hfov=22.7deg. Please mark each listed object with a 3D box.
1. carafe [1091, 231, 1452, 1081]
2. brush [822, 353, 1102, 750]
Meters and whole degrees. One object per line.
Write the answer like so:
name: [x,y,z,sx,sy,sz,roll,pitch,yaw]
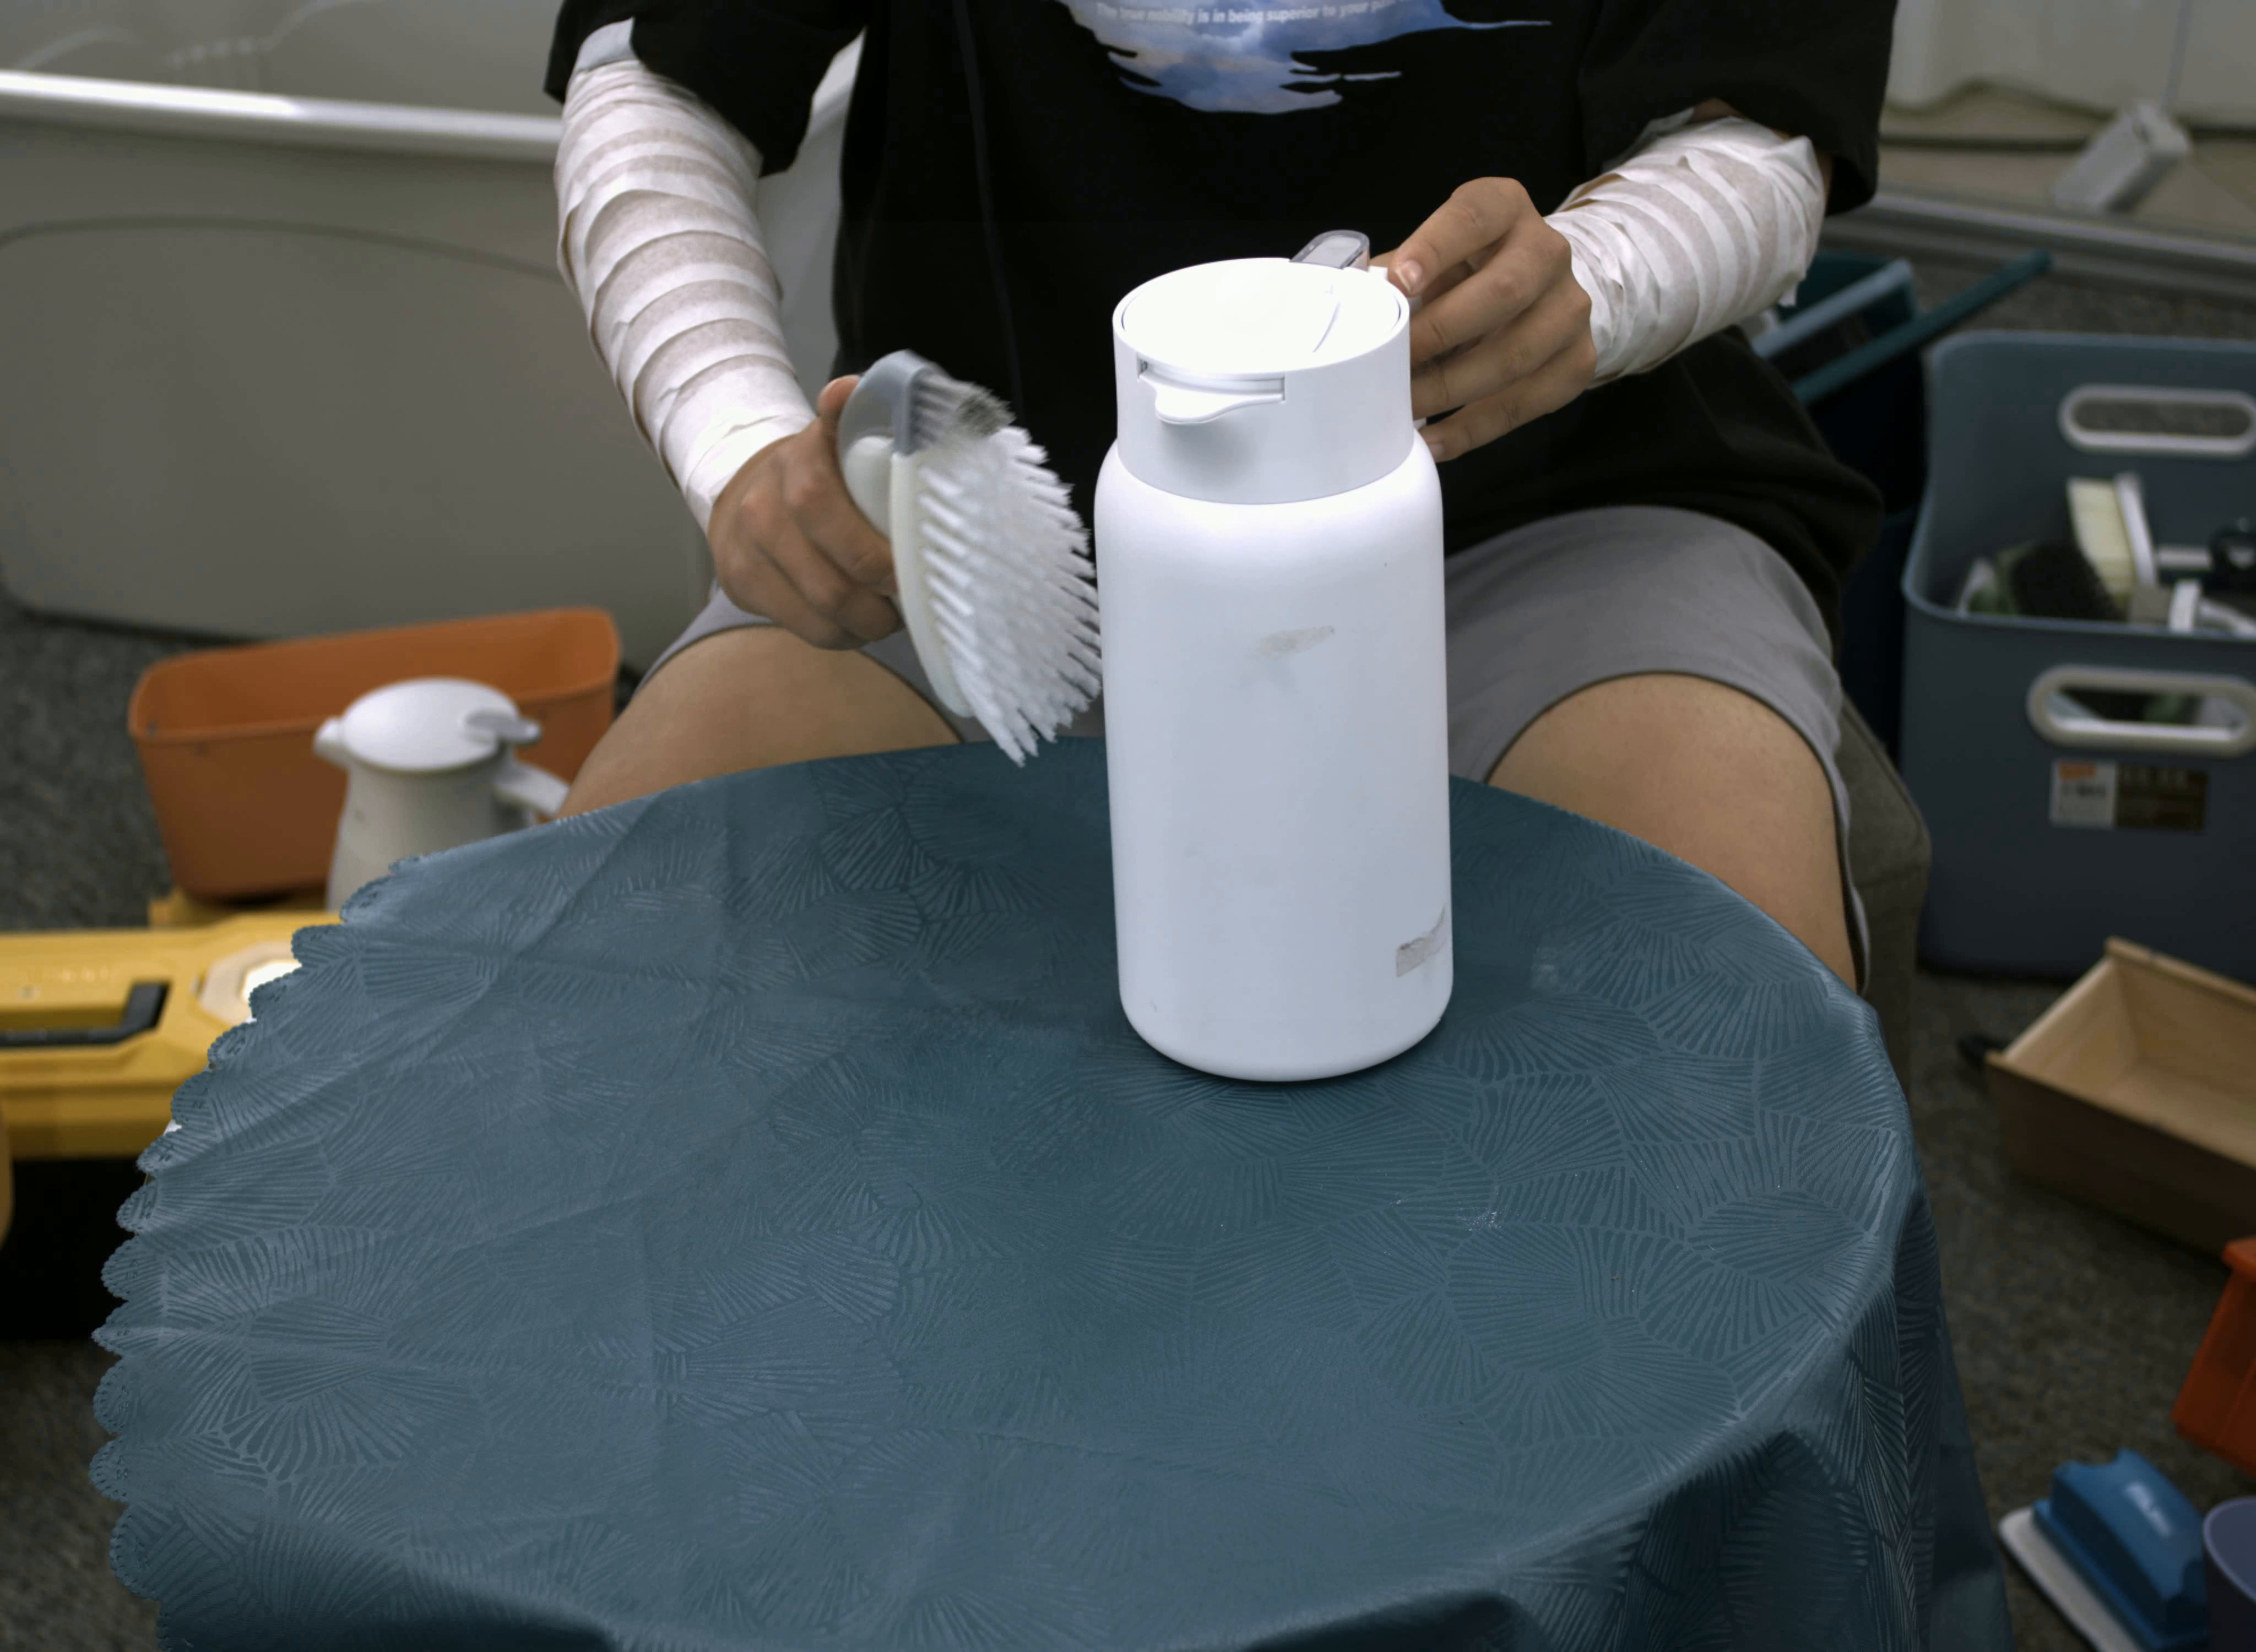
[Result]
carafe: [0.054,-0.062,1.924,0.123,0.266,0.176,6,27,23]
brush: [-0.066,-0.109,1.942,0.094,0.173,0.062,30,65,28]
